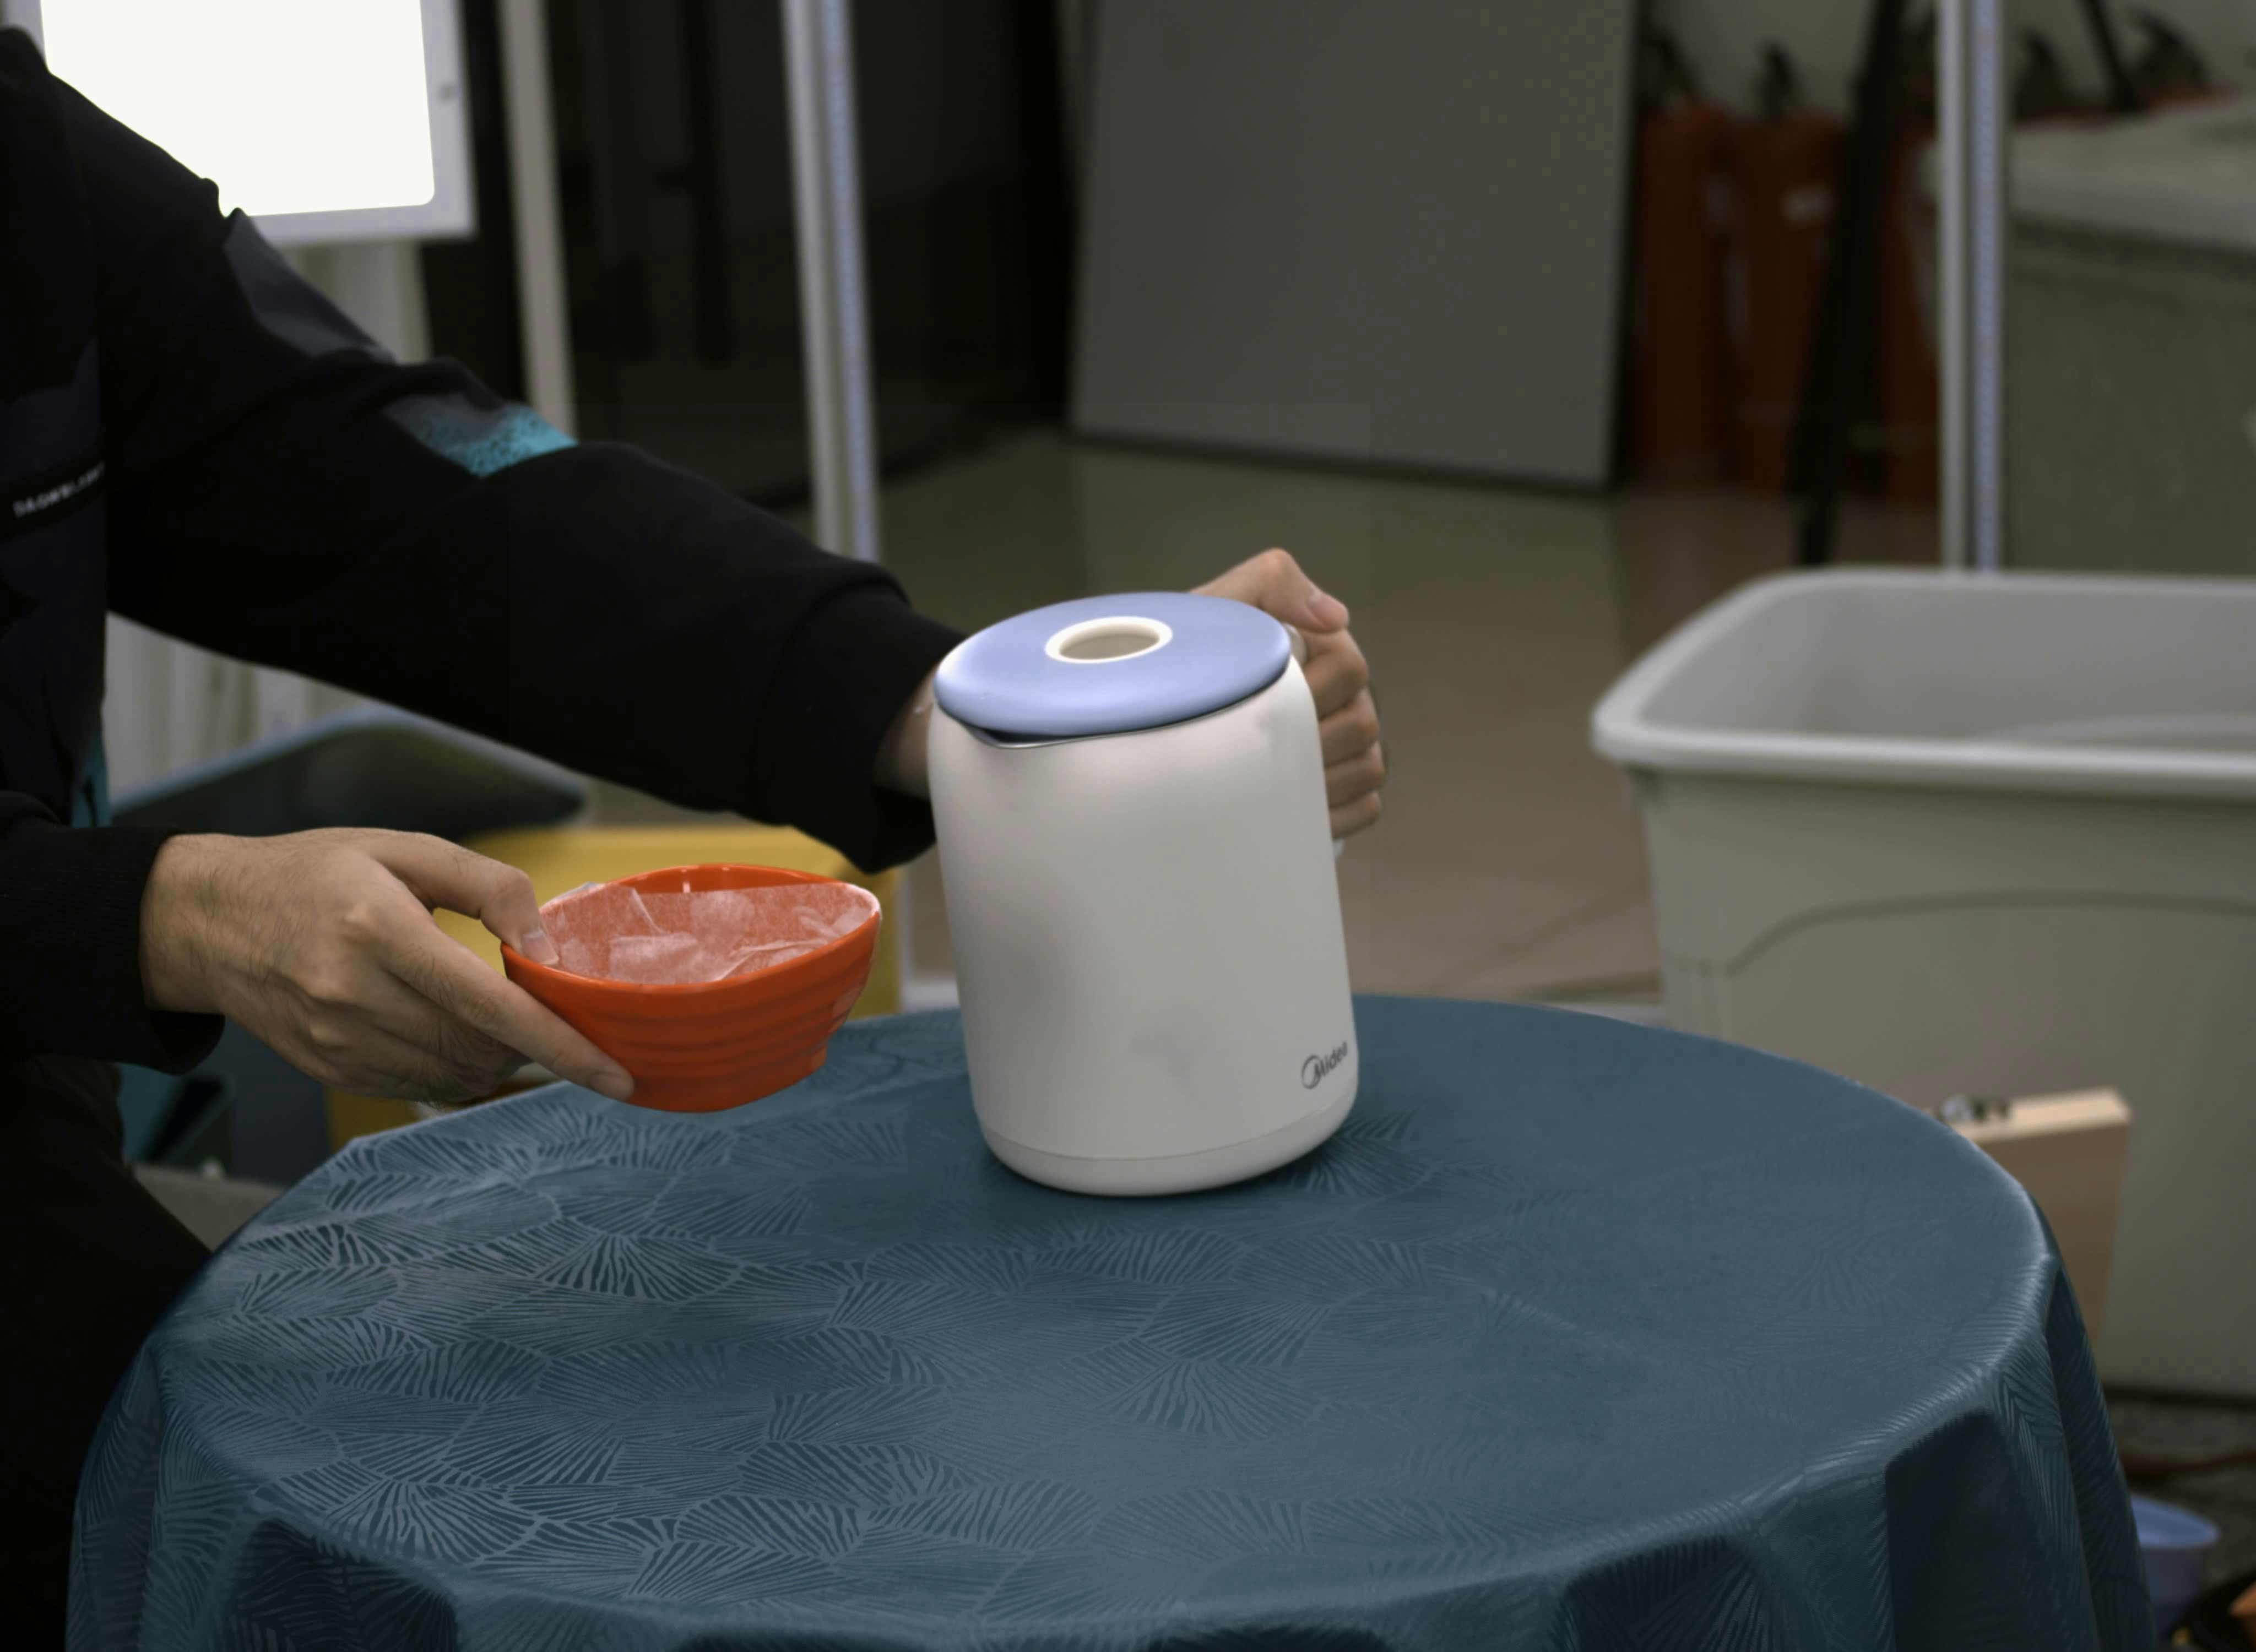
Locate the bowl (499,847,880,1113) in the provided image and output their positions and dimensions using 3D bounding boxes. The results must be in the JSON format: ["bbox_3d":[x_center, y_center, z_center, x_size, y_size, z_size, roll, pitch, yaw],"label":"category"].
[{"bbox_3d":[-0.133,0.050,1.673,0.117,0.052,0.119,-4,20,1],"label":"bowl"}]

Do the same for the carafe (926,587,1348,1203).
[{"bbox_3d":[0.015,0.014,1.805,0.133,0.184,0.188,6,21,30],"label":"carafe"}]
